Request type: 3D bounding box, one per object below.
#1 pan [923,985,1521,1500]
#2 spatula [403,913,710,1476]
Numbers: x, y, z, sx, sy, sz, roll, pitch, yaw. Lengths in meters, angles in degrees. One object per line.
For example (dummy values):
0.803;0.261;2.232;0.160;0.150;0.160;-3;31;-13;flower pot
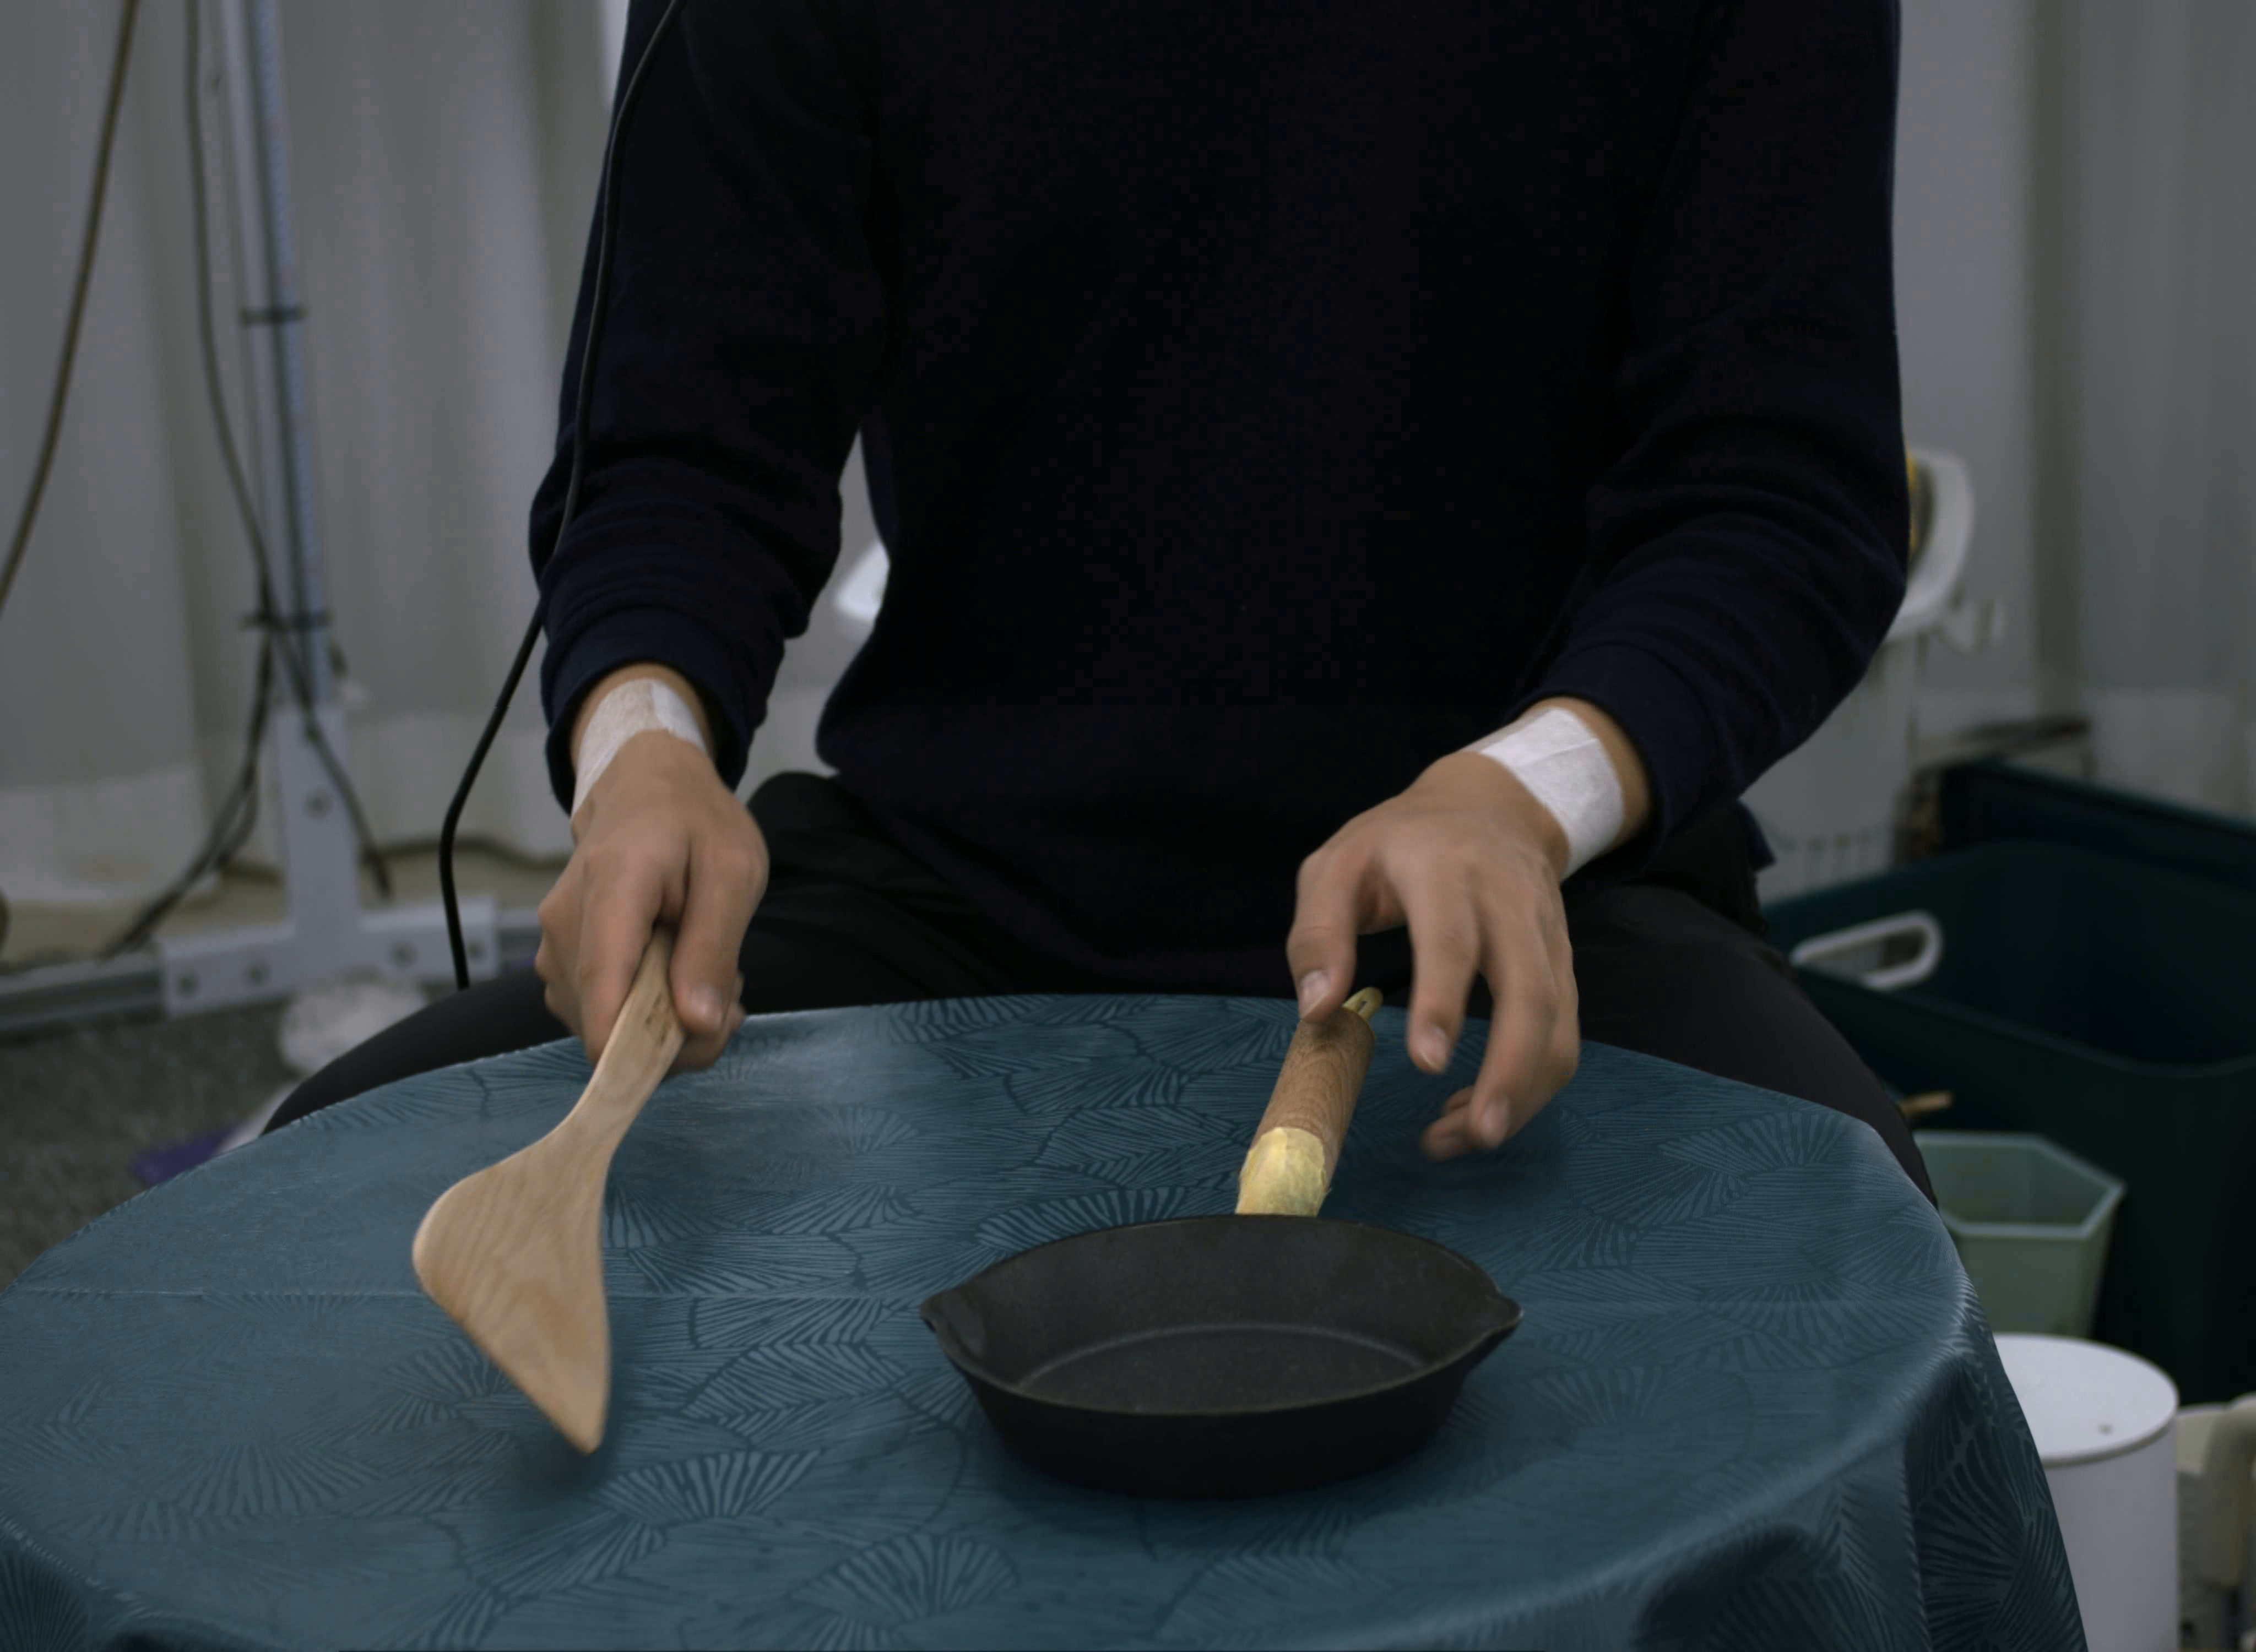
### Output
0.043;0.118;1.597;0.169;0.049;0.326;0;17;13;pan
-0.158;0.095;1.625;0.016;0.079;0.330;-31;15;18;spatula
